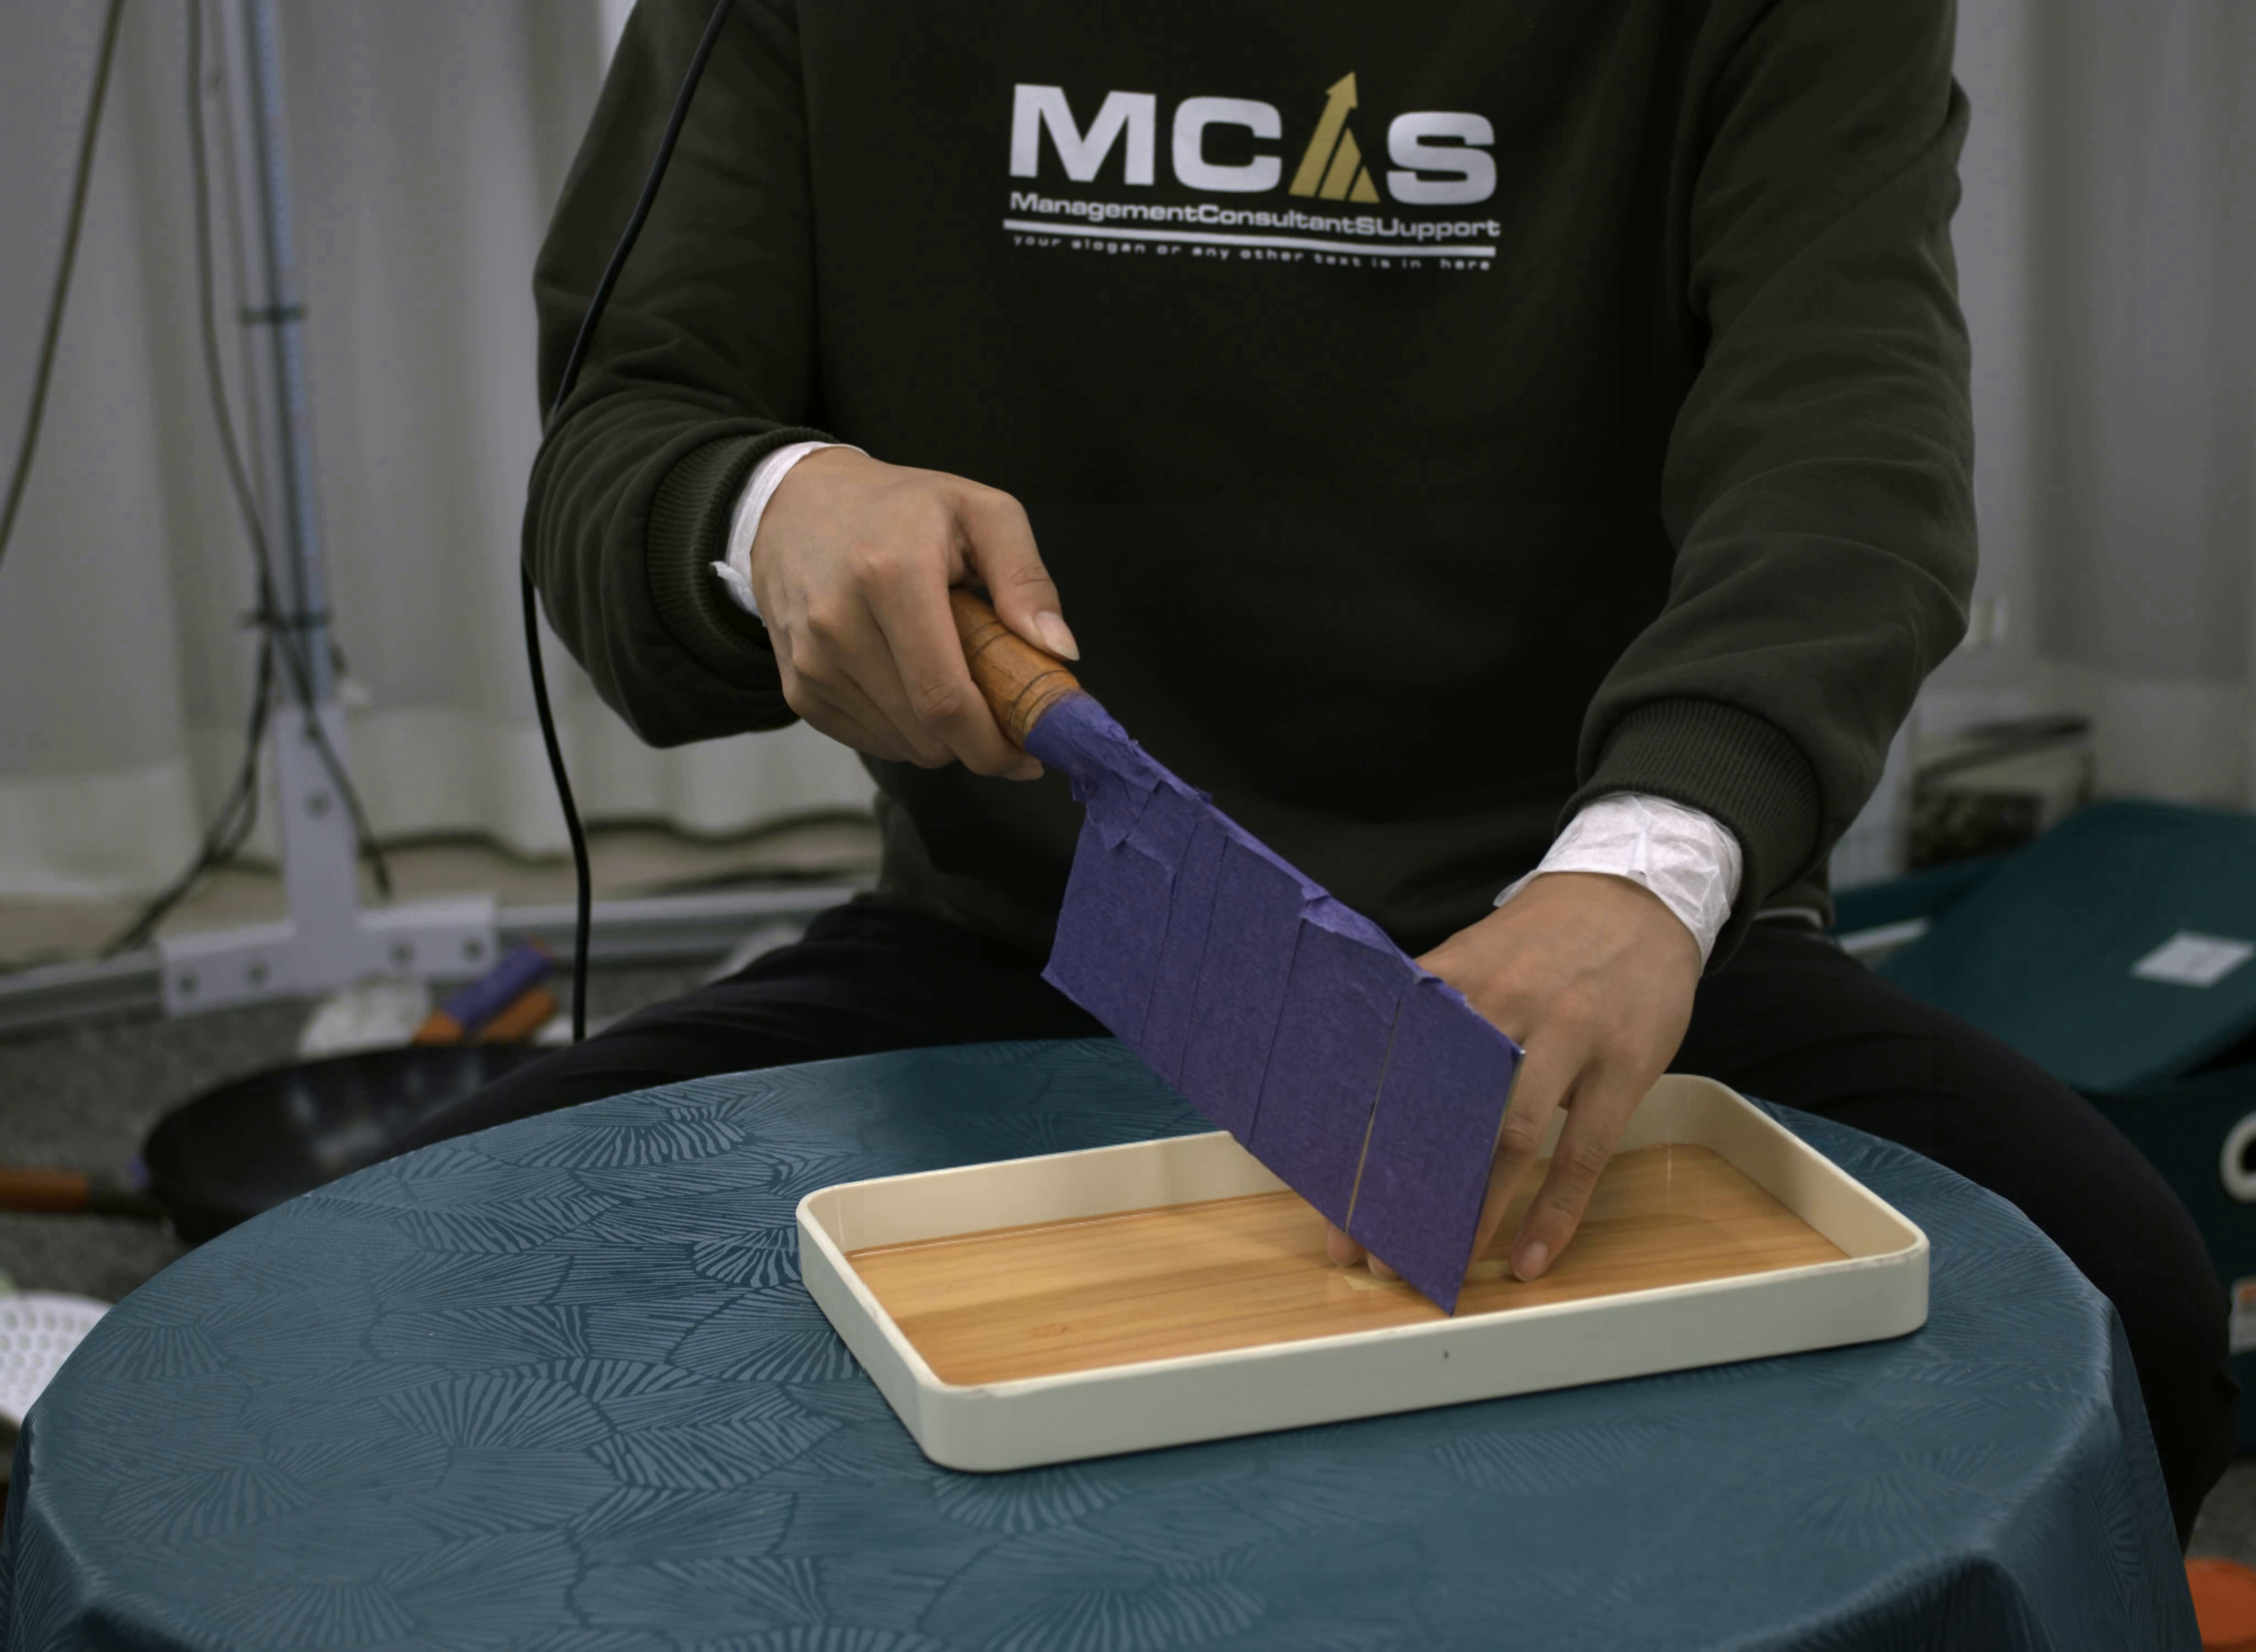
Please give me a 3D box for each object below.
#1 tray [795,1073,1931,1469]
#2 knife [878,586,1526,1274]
[{"bbox_3d":[0.065,0.127,1.605,0.299,0.027,0.193,-7,15,-15],"label":"tray"},{"bbox_3d":[0.011,0.030,1.659,0.032,0.103,0.319,-2,27,-36],"label":"knife"}]
